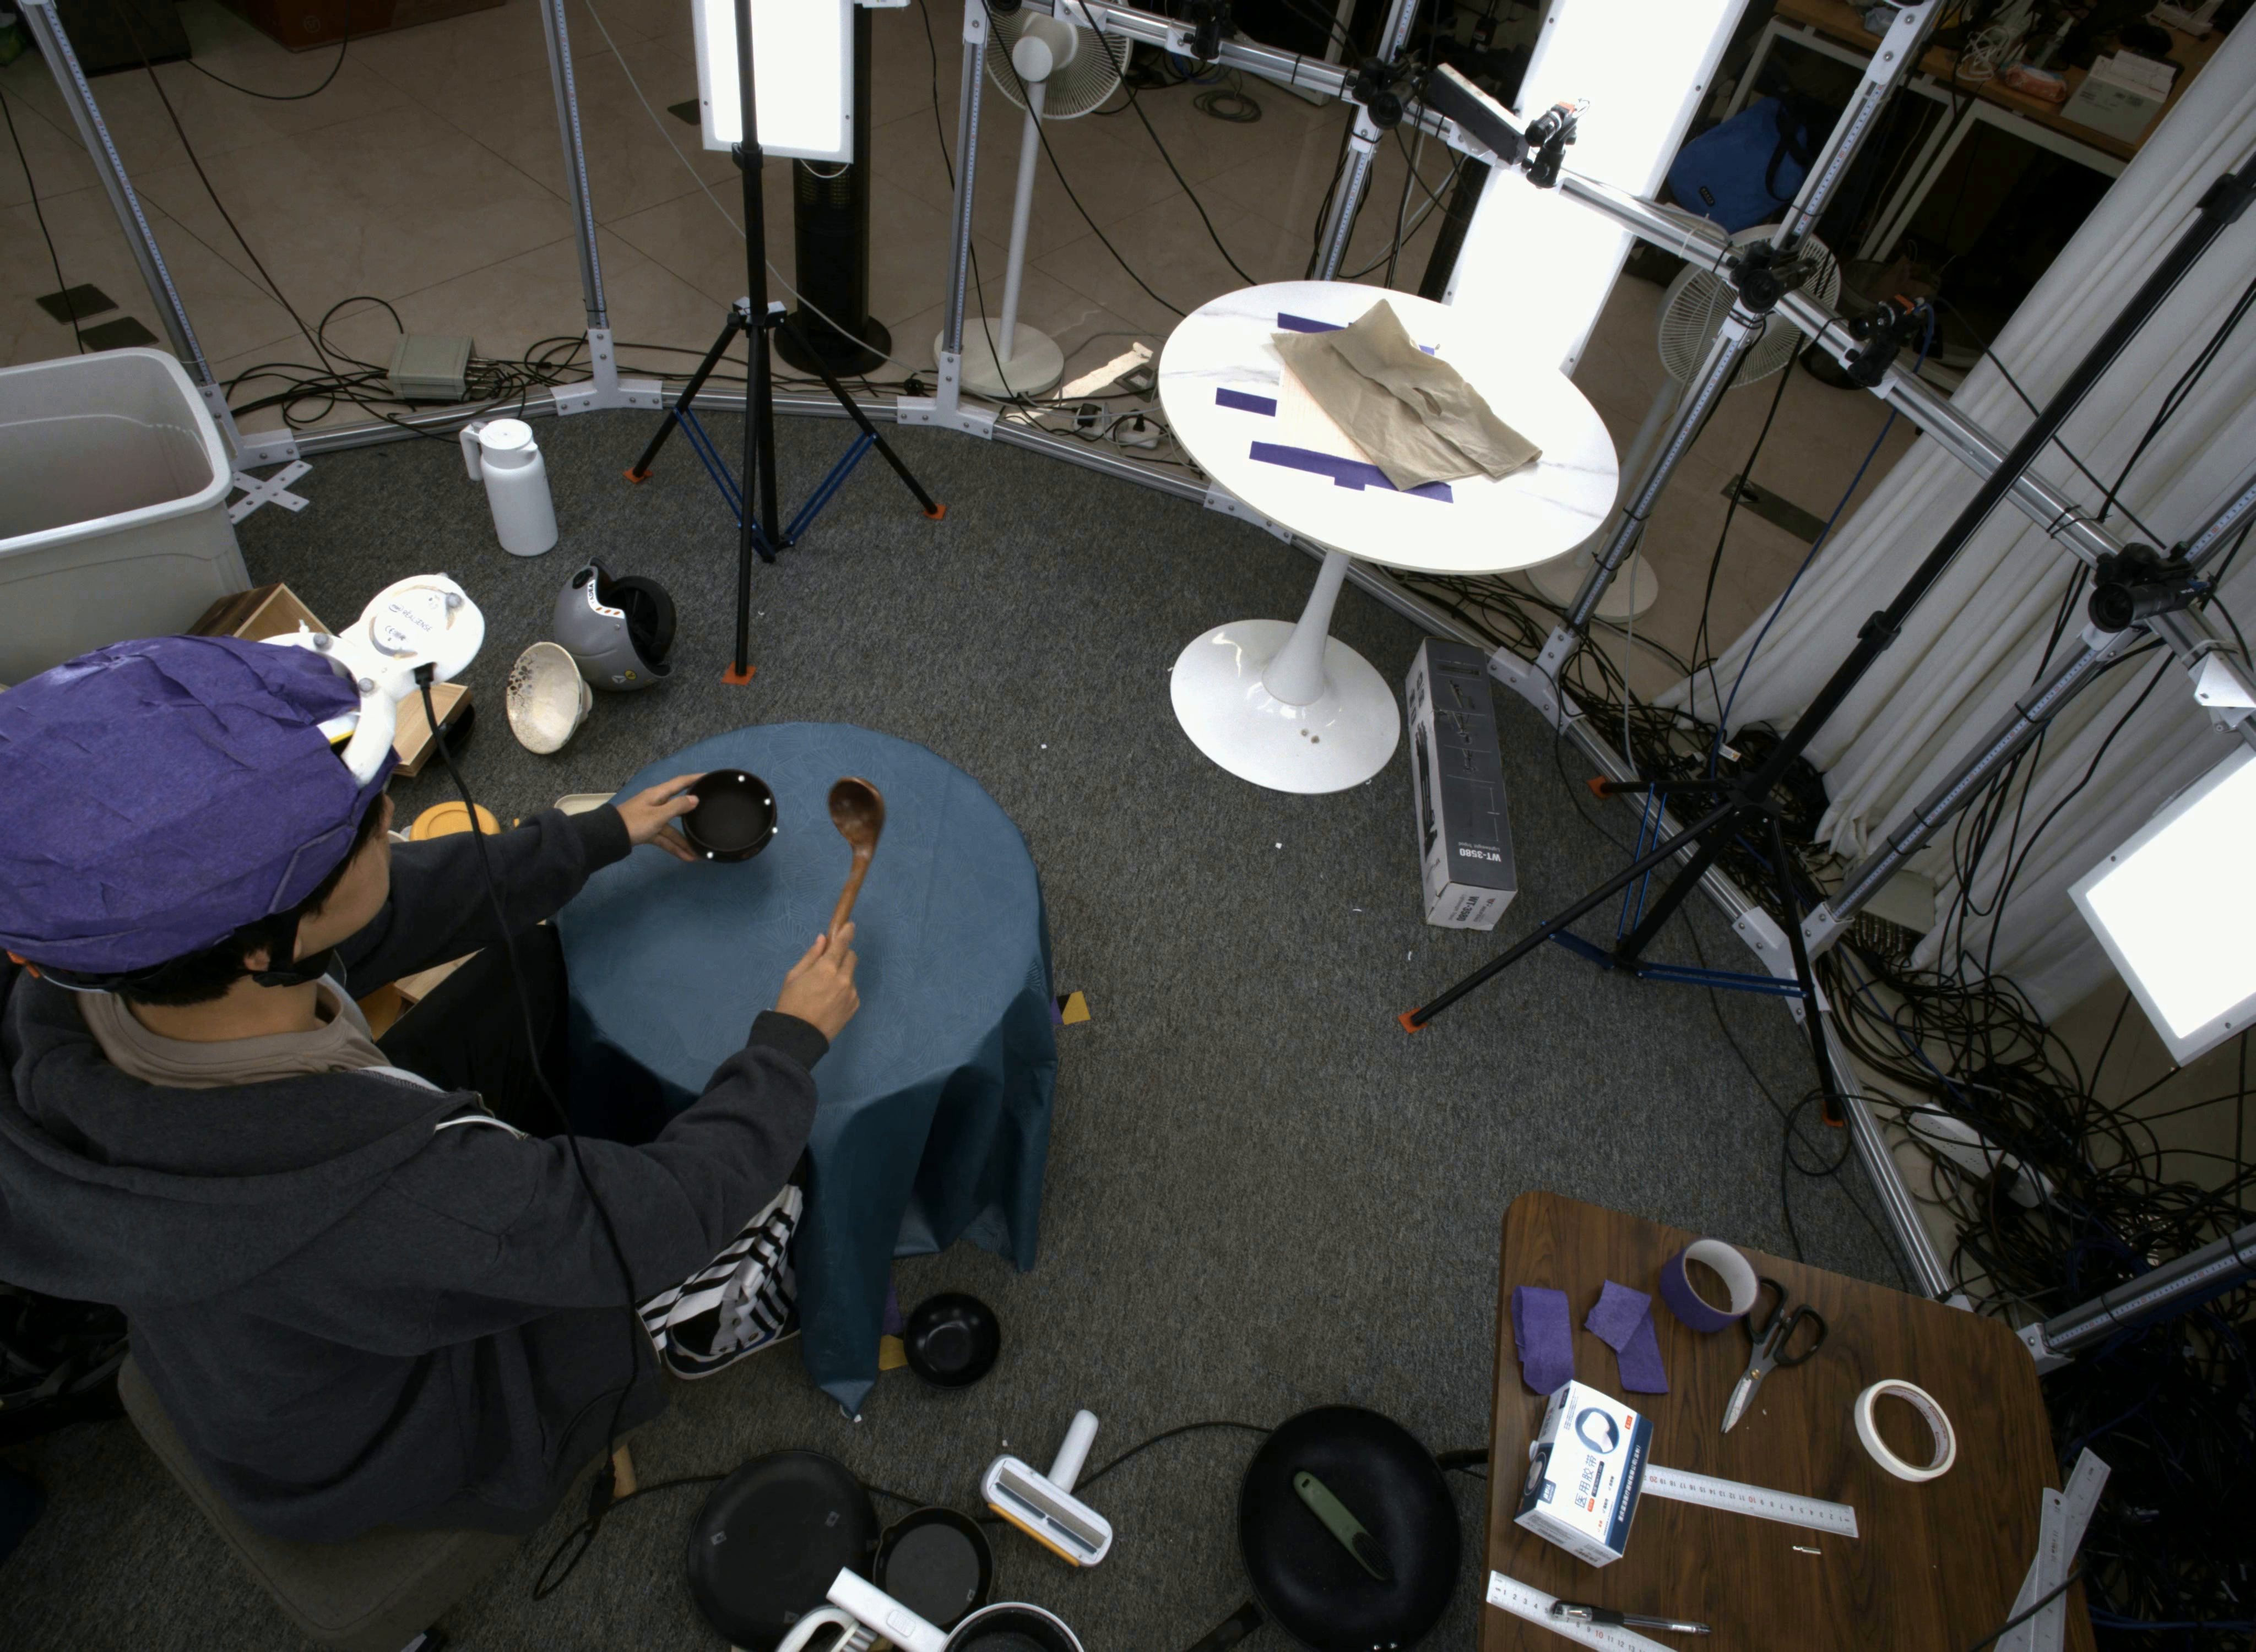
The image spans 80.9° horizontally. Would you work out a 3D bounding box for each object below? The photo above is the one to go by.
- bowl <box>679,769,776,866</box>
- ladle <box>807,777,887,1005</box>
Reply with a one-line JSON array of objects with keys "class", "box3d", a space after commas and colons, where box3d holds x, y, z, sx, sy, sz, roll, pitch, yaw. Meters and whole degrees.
[{"class": "bowl", "box3d": [-0.500, -0.005, 1.615, 0.118, 0.070, 0.117, 7, 64, -13]}, {"class": "ladle", "box3d": [-0.340, 0.065, 1.492, 0.079, 0.080, 0.270, 41, 46, -35]}]
